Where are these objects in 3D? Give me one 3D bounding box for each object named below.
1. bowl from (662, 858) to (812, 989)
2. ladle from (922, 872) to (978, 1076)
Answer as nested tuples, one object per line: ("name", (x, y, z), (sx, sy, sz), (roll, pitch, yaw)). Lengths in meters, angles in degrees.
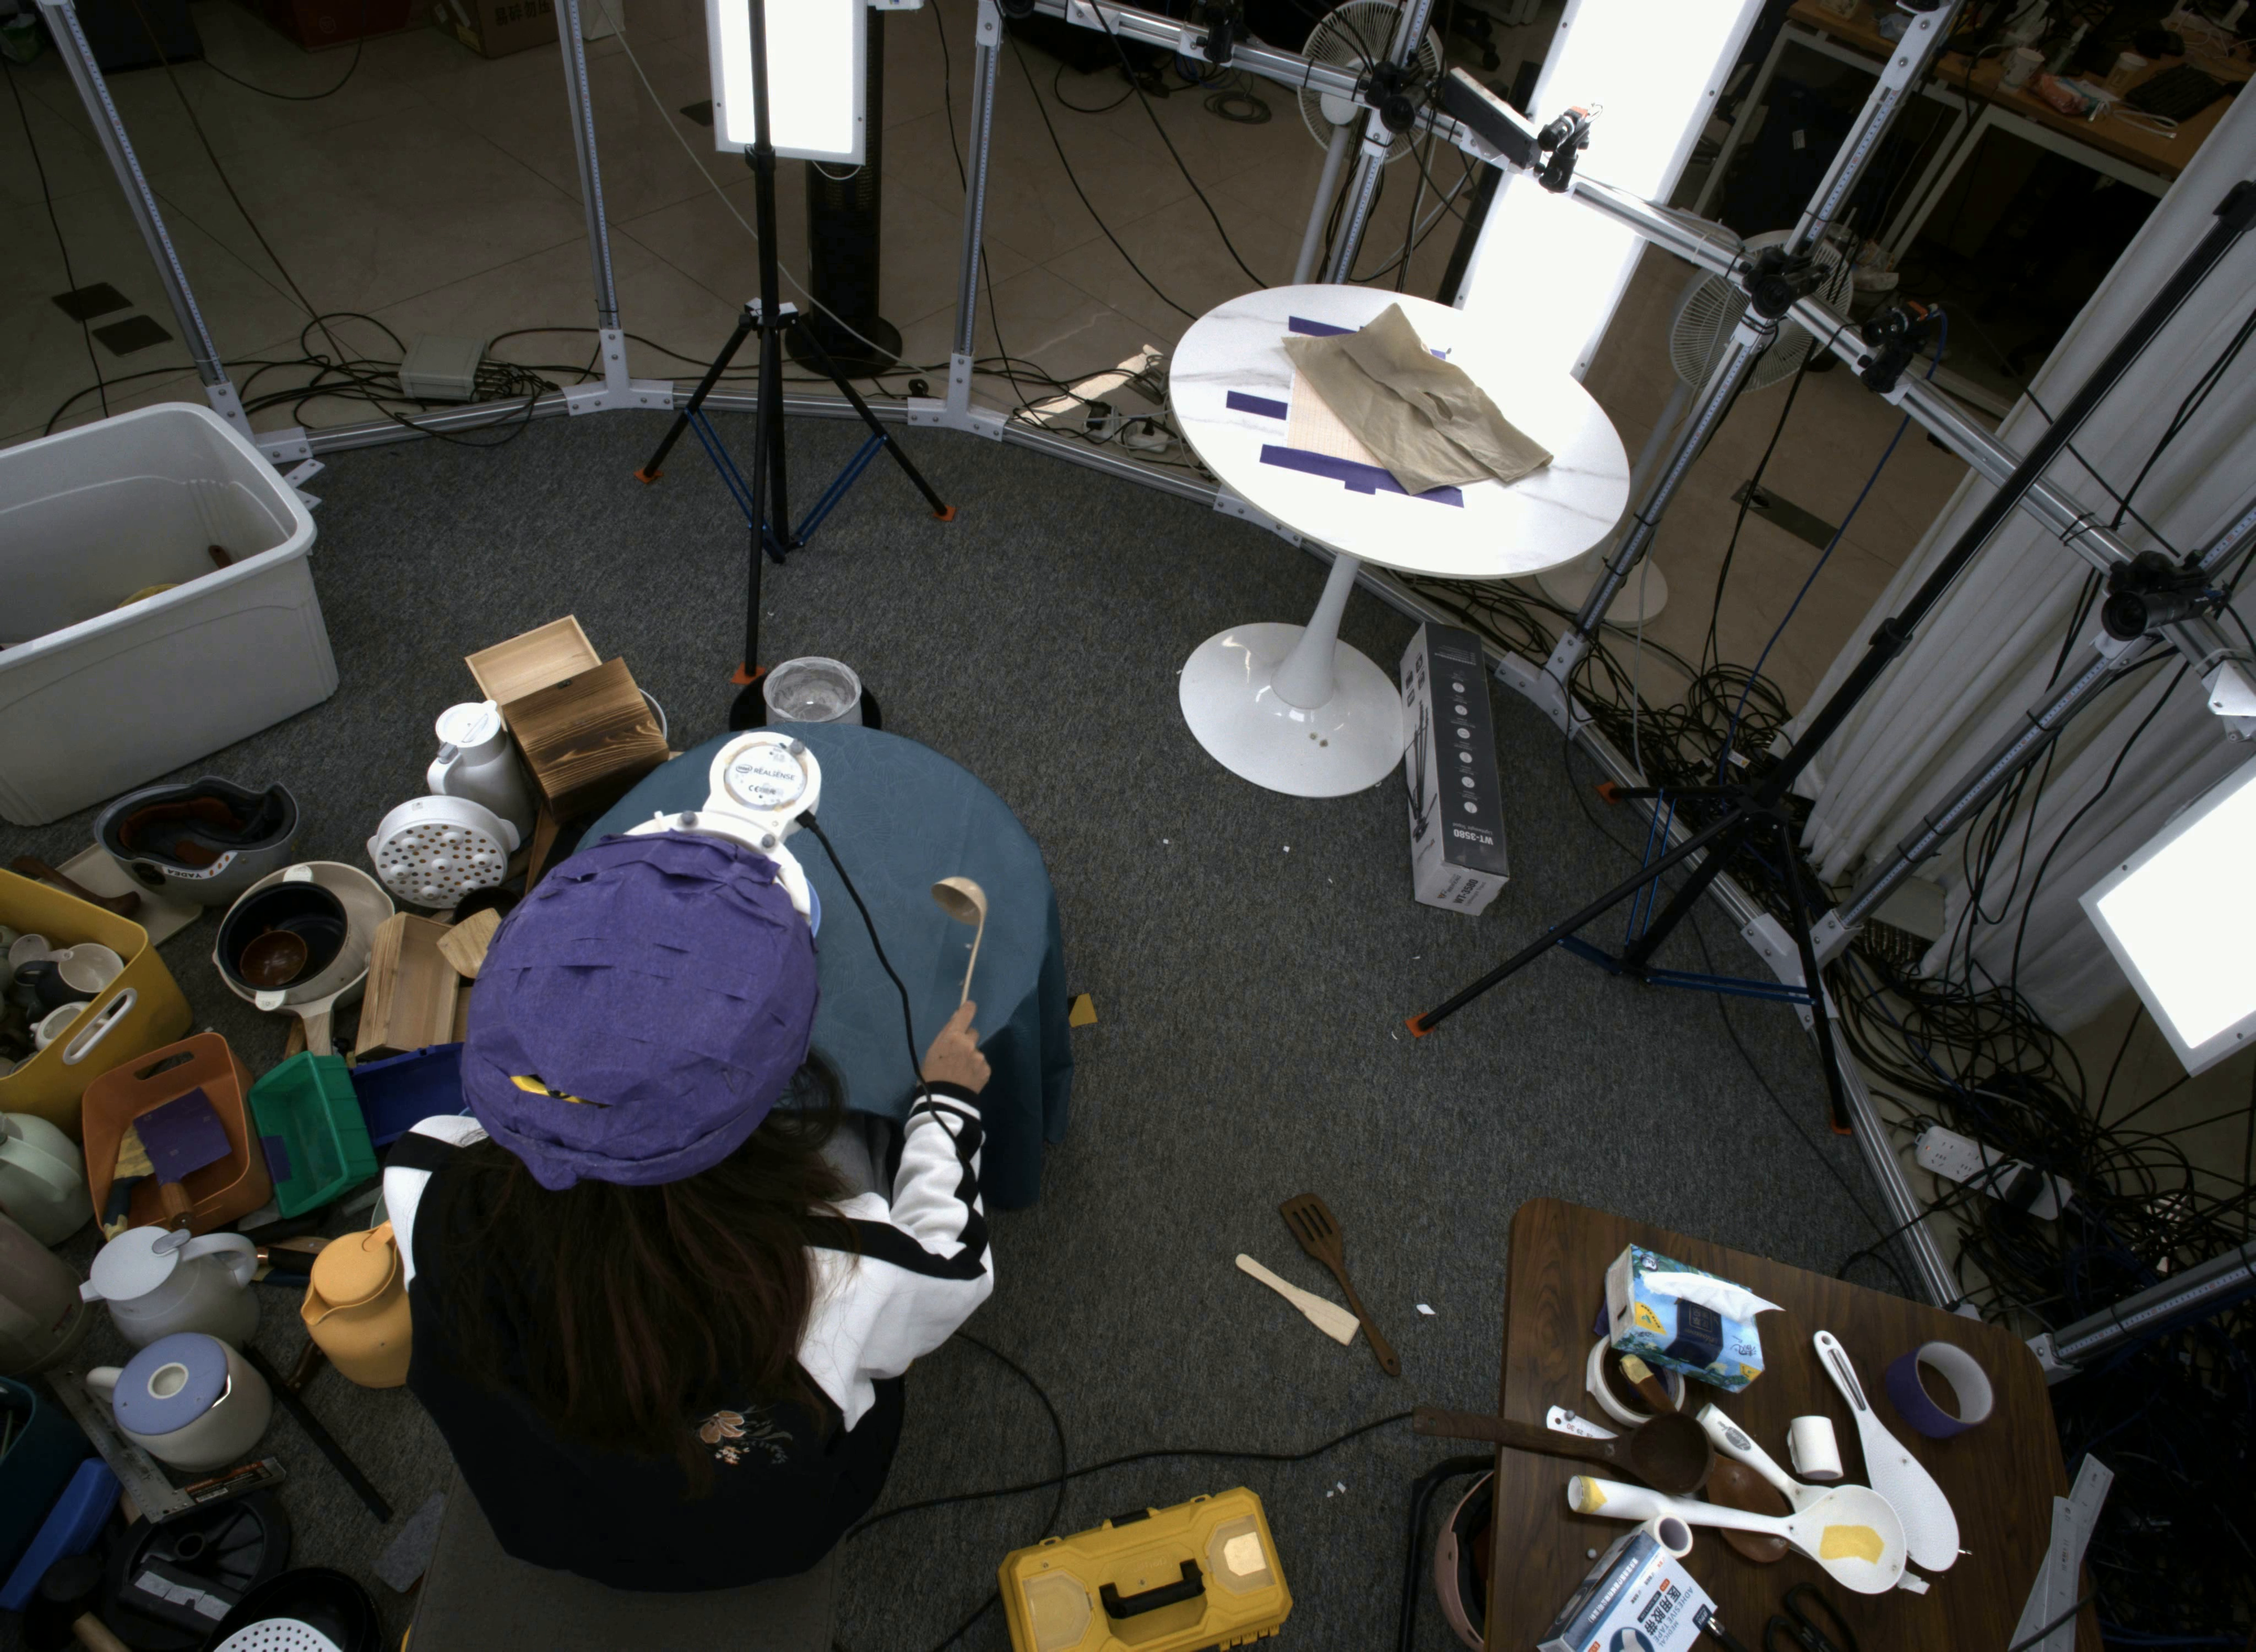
("bowl", (-0.471, 0.127, 1.566), (0.175, 0.072, 0.173), (7, 52, -8))
("ladle", (-0.222, 0.170, 1.538), (0.072, 0.073, 0.250), (8, 57, -7))
